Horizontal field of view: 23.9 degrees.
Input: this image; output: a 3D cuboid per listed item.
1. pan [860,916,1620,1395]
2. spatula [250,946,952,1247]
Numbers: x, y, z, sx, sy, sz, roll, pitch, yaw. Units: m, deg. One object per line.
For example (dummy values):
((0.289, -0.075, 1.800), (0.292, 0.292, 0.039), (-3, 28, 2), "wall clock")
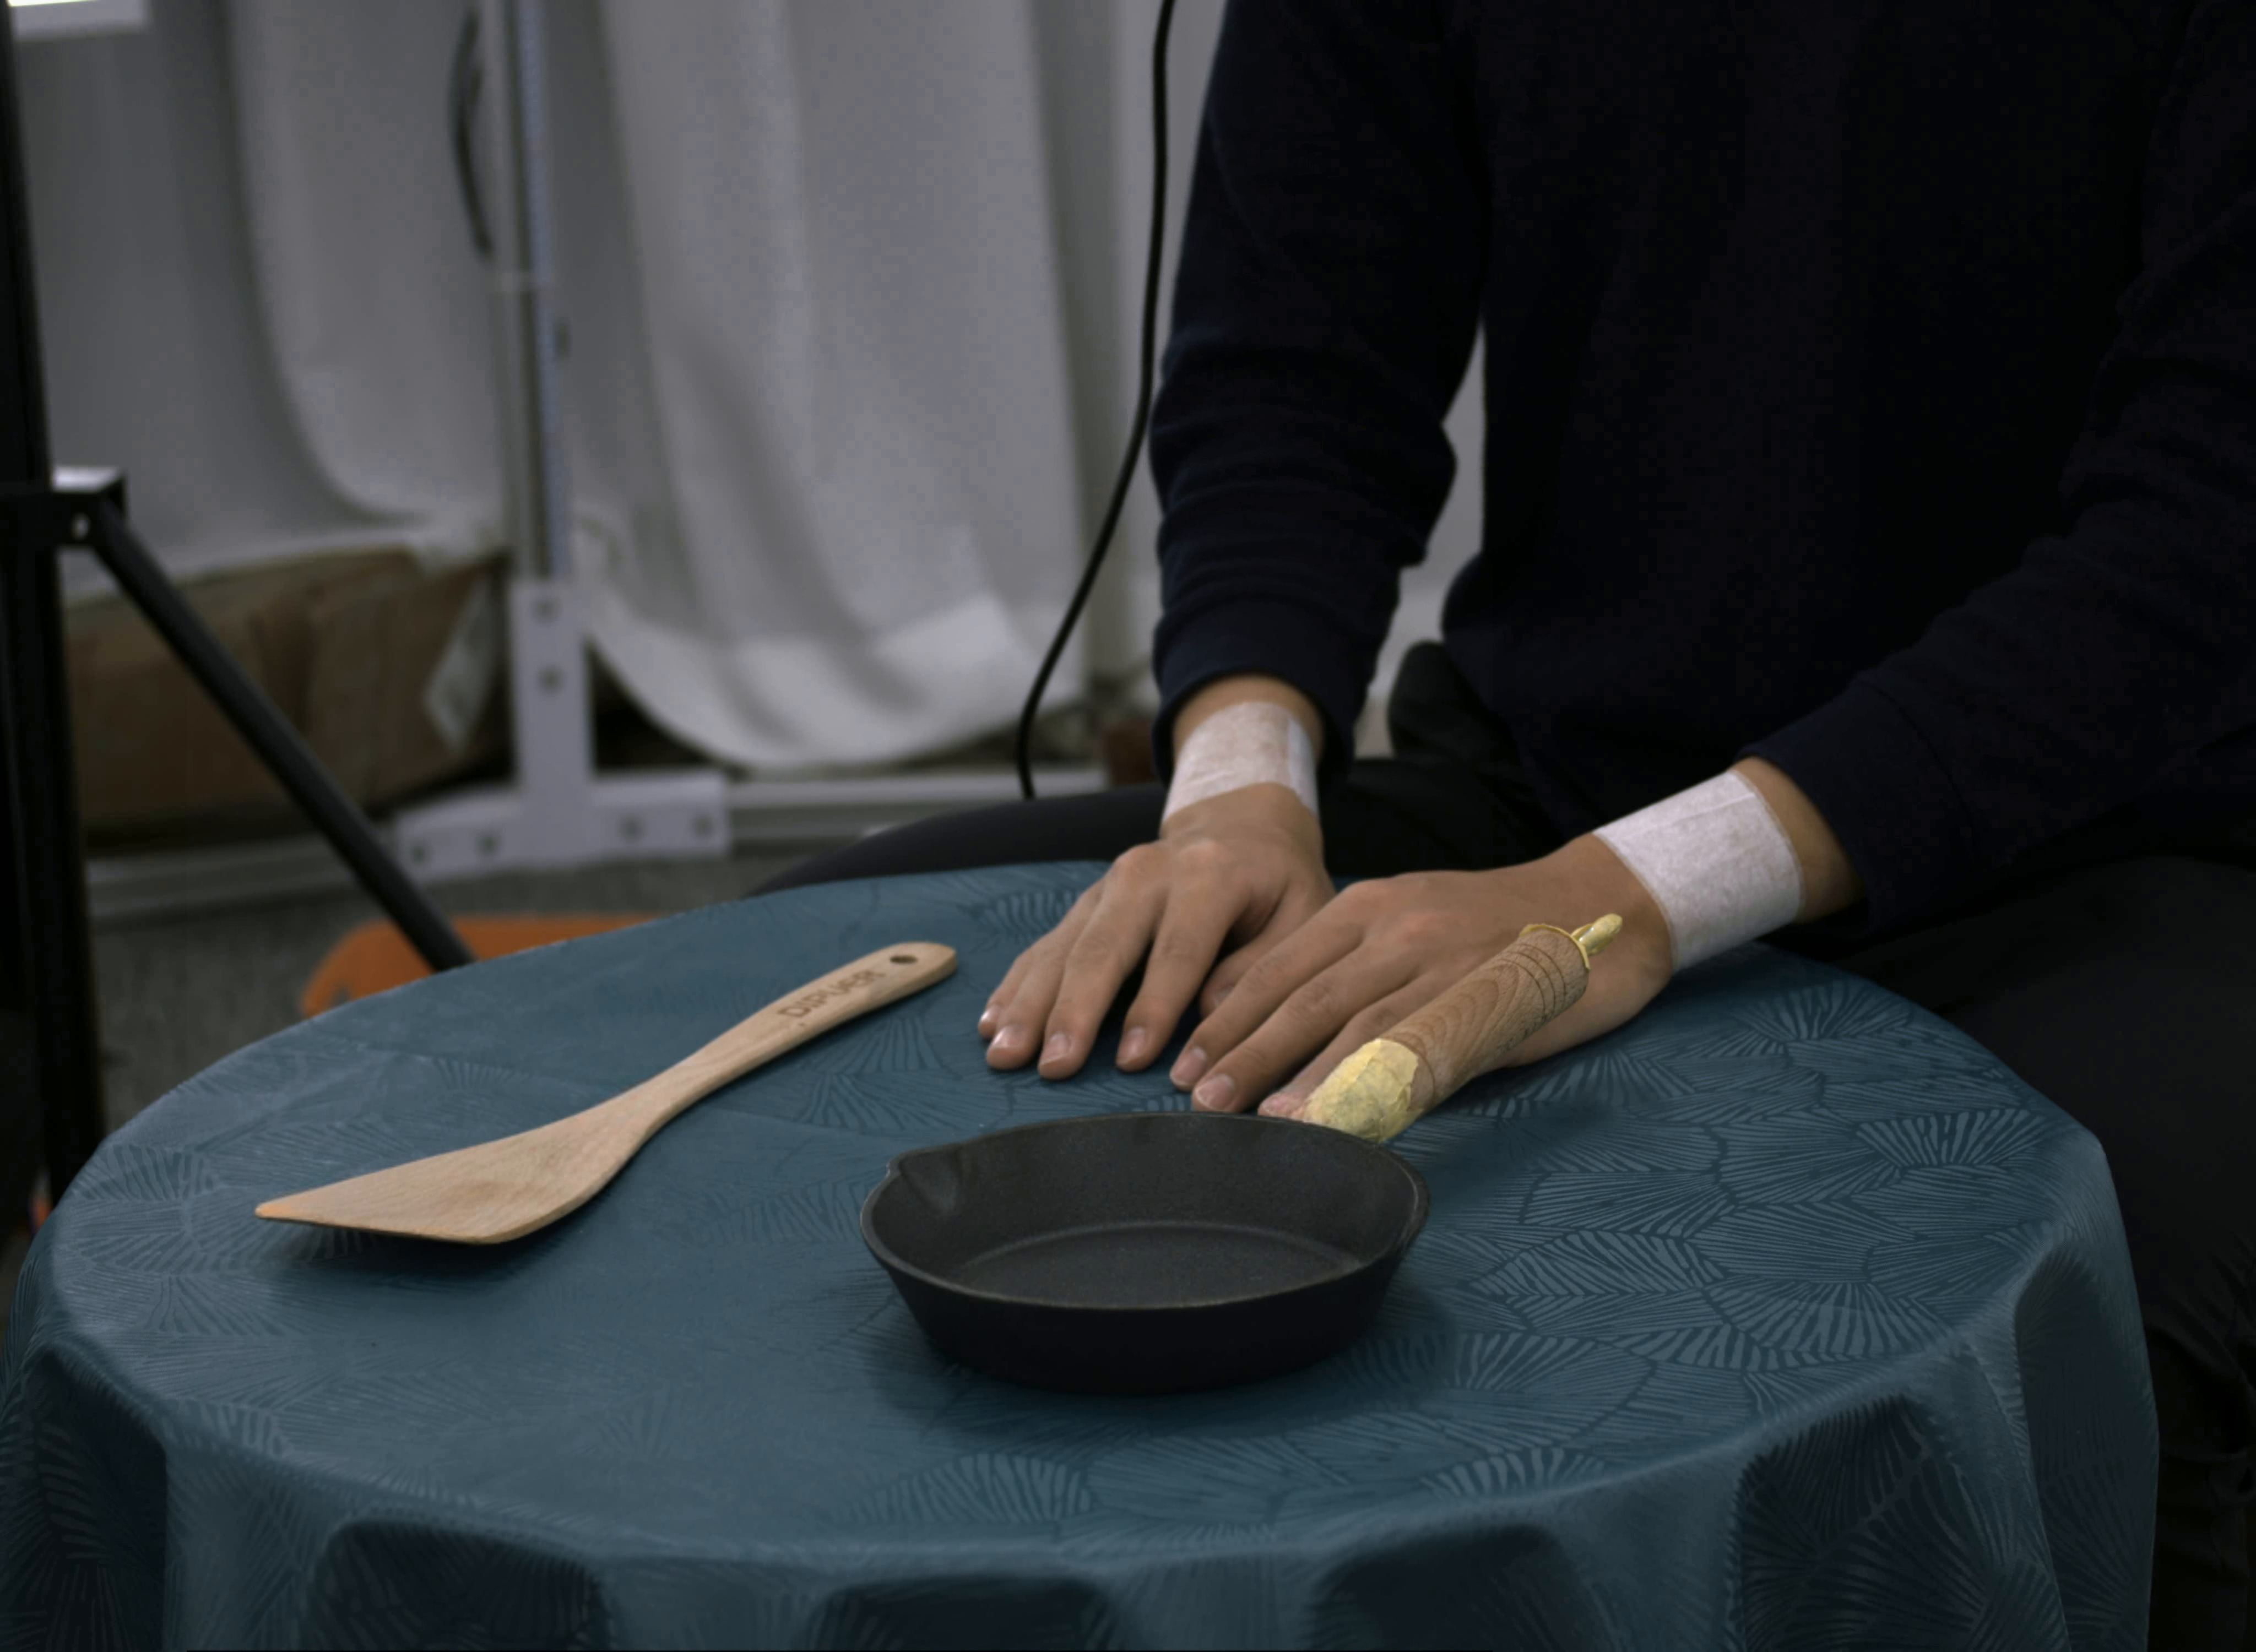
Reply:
((0.055, 0.090, 1.518), (0.172, 0.049, 0.317), (9, 21, 37), "pan")
((-0.143, 0.080, 1.650), (0.081, 0.016, 0.322), (7, 18, 29), "spatula")
